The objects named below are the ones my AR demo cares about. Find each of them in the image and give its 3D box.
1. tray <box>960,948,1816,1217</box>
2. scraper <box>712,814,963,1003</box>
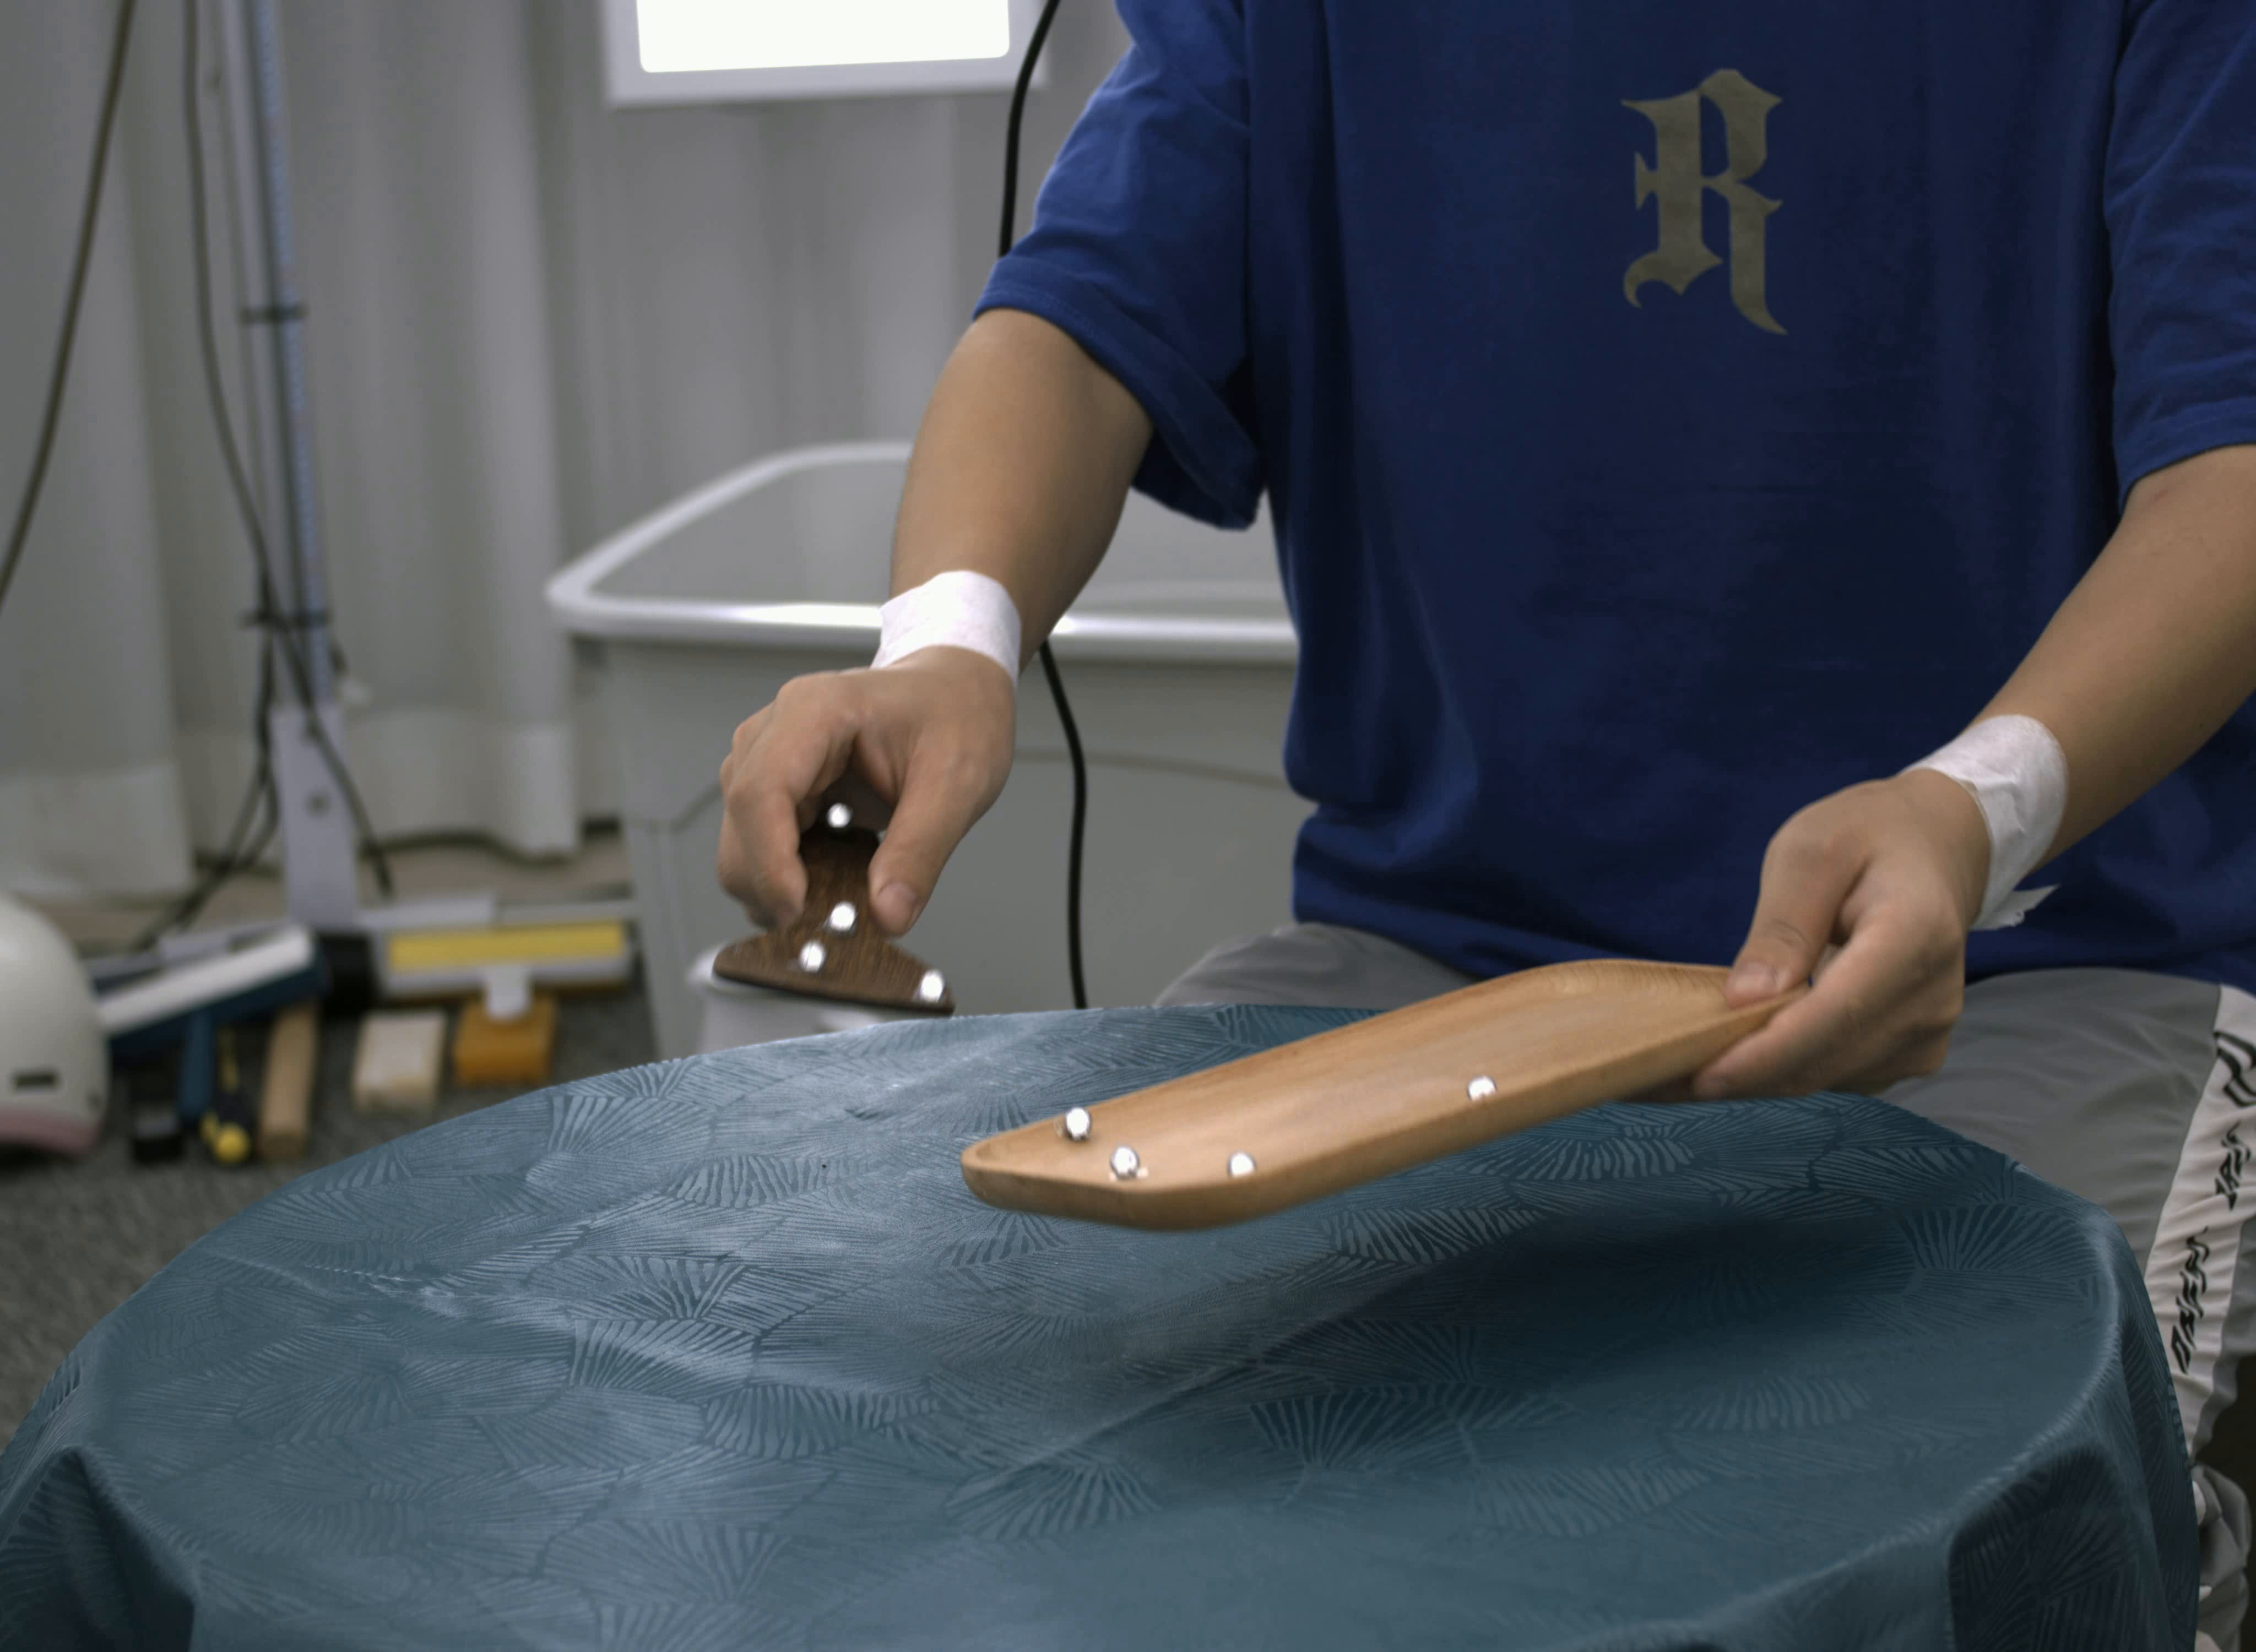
[{"bbox_3d":[0.078,0.072,1.584,0.250,0.023,0.131,-14,12,-34],"label":"tray"},{"bbox_3d":[-0.090,0.024,1.706,0.075,0.011,0.212,10,13,-4],"label":"scraper"}]
